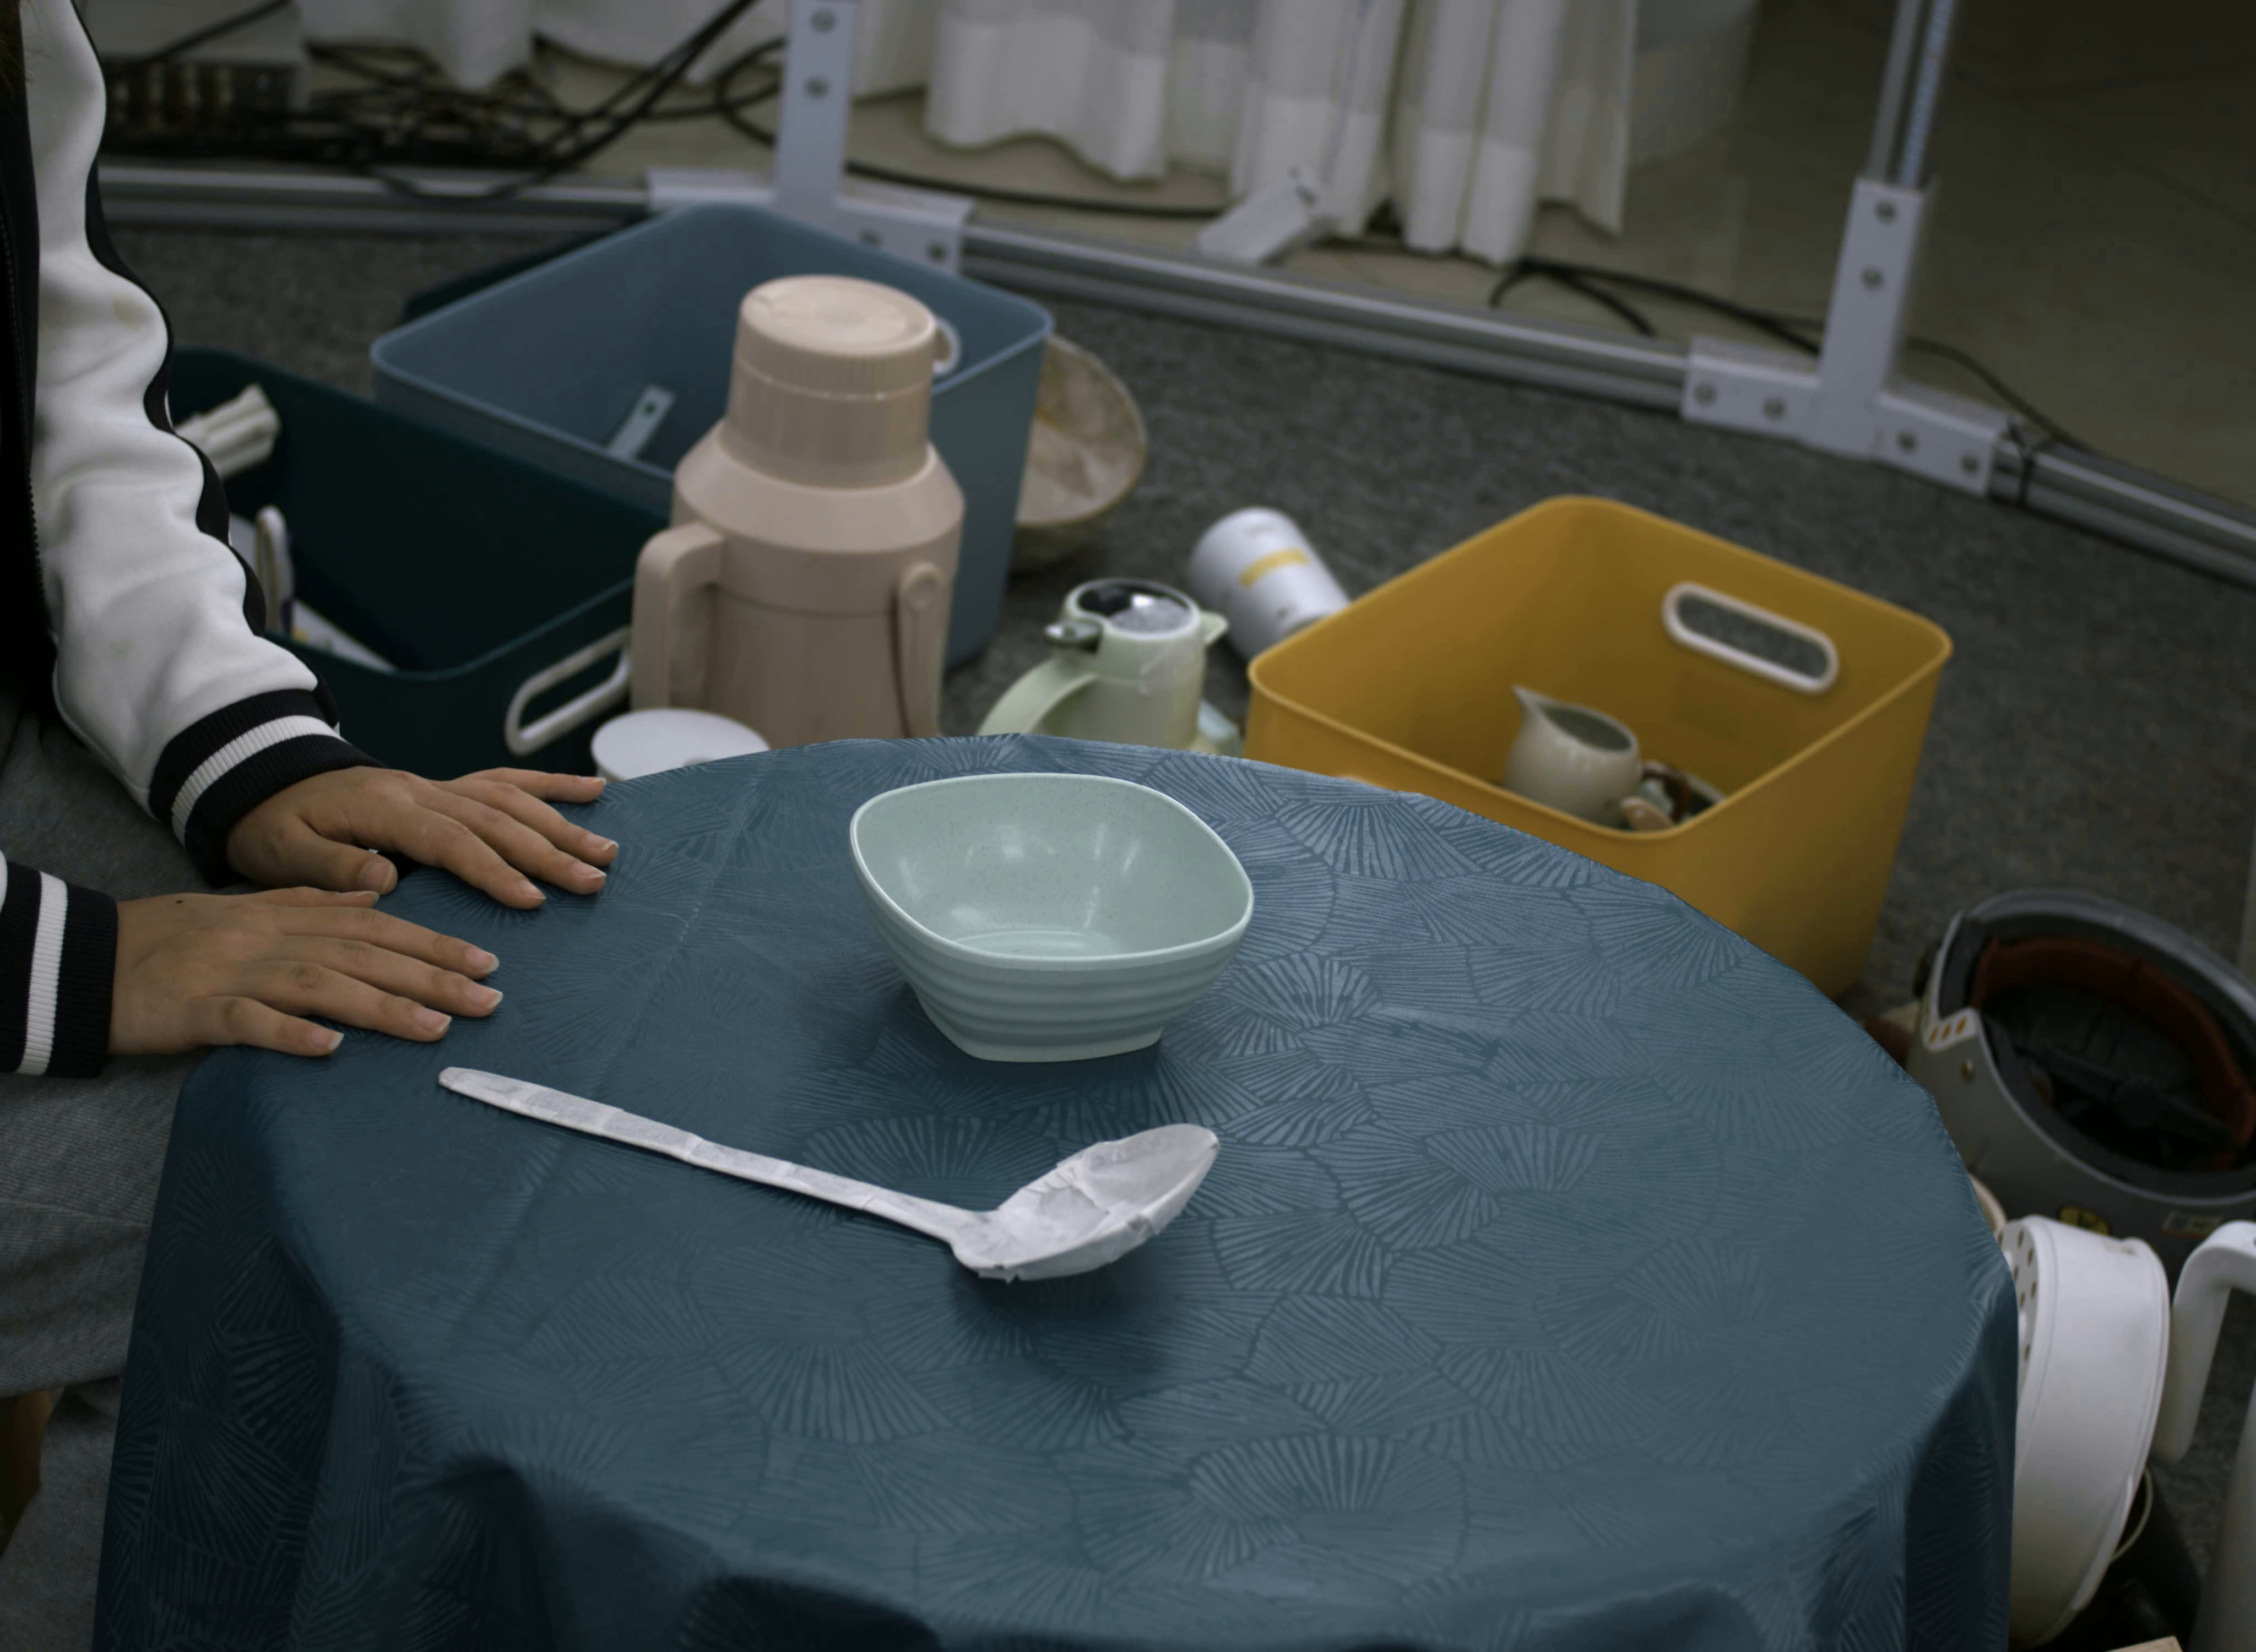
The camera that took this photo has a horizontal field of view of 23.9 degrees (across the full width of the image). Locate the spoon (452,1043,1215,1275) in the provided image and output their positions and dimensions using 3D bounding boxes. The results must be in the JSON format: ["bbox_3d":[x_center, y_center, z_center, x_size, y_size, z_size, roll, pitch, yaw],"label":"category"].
[{"bbox_3d":[-0.102,0.093,1.777,0.278,0.059,0.100,18,24,20],"label":"spoon"}]

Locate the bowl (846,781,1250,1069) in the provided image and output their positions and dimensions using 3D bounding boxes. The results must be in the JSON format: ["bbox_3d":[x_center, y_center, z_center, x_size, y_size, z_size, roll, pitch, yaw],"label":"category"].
[{"bbox_3d":[-0.031,0.041,1.900,0.151,0.058,0.152,5,27,-3],"label":"bowl"}]
